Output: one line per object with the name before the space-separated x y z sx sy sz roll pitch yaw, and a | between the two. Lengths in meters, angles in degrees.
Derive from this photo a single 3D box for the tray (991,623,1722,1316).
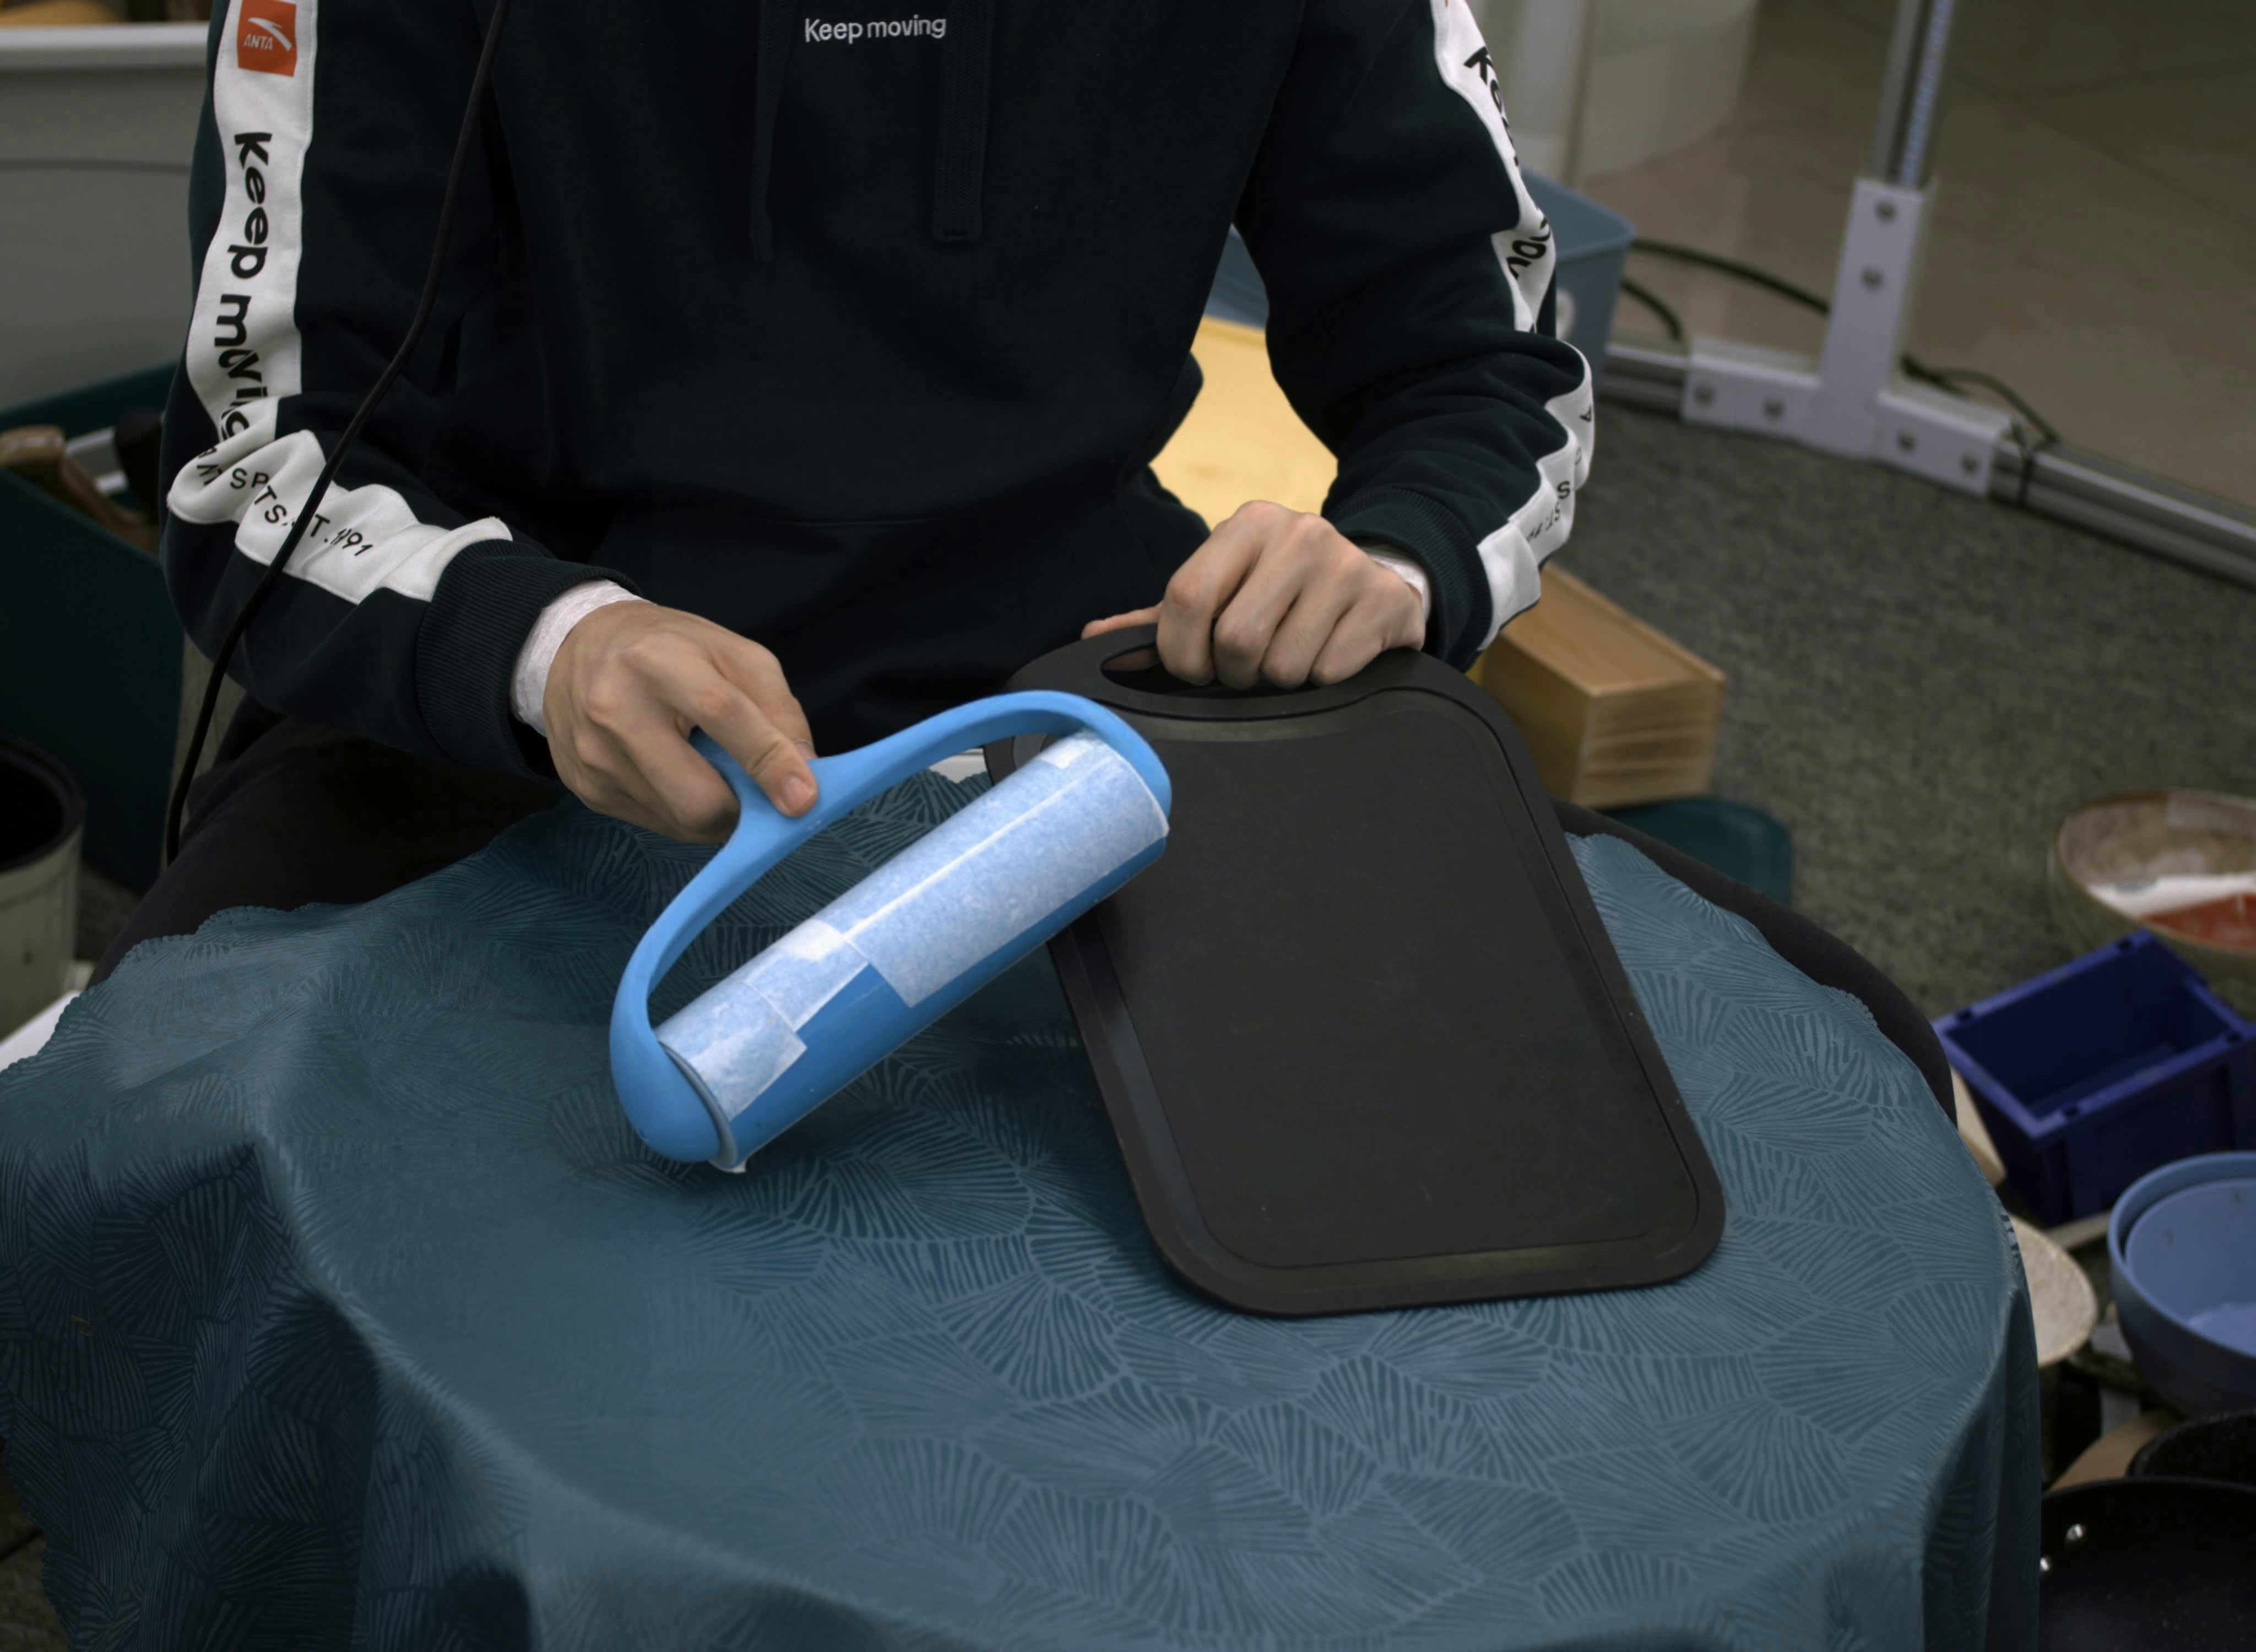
tray | 0.072 0.041 1.861 0.210 0.010 0.328 -2 46 -19

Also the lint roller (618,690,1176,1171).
lint roller | -0.115 0.009 1.835 0.228 0.067 0.181 -39 56 -23
